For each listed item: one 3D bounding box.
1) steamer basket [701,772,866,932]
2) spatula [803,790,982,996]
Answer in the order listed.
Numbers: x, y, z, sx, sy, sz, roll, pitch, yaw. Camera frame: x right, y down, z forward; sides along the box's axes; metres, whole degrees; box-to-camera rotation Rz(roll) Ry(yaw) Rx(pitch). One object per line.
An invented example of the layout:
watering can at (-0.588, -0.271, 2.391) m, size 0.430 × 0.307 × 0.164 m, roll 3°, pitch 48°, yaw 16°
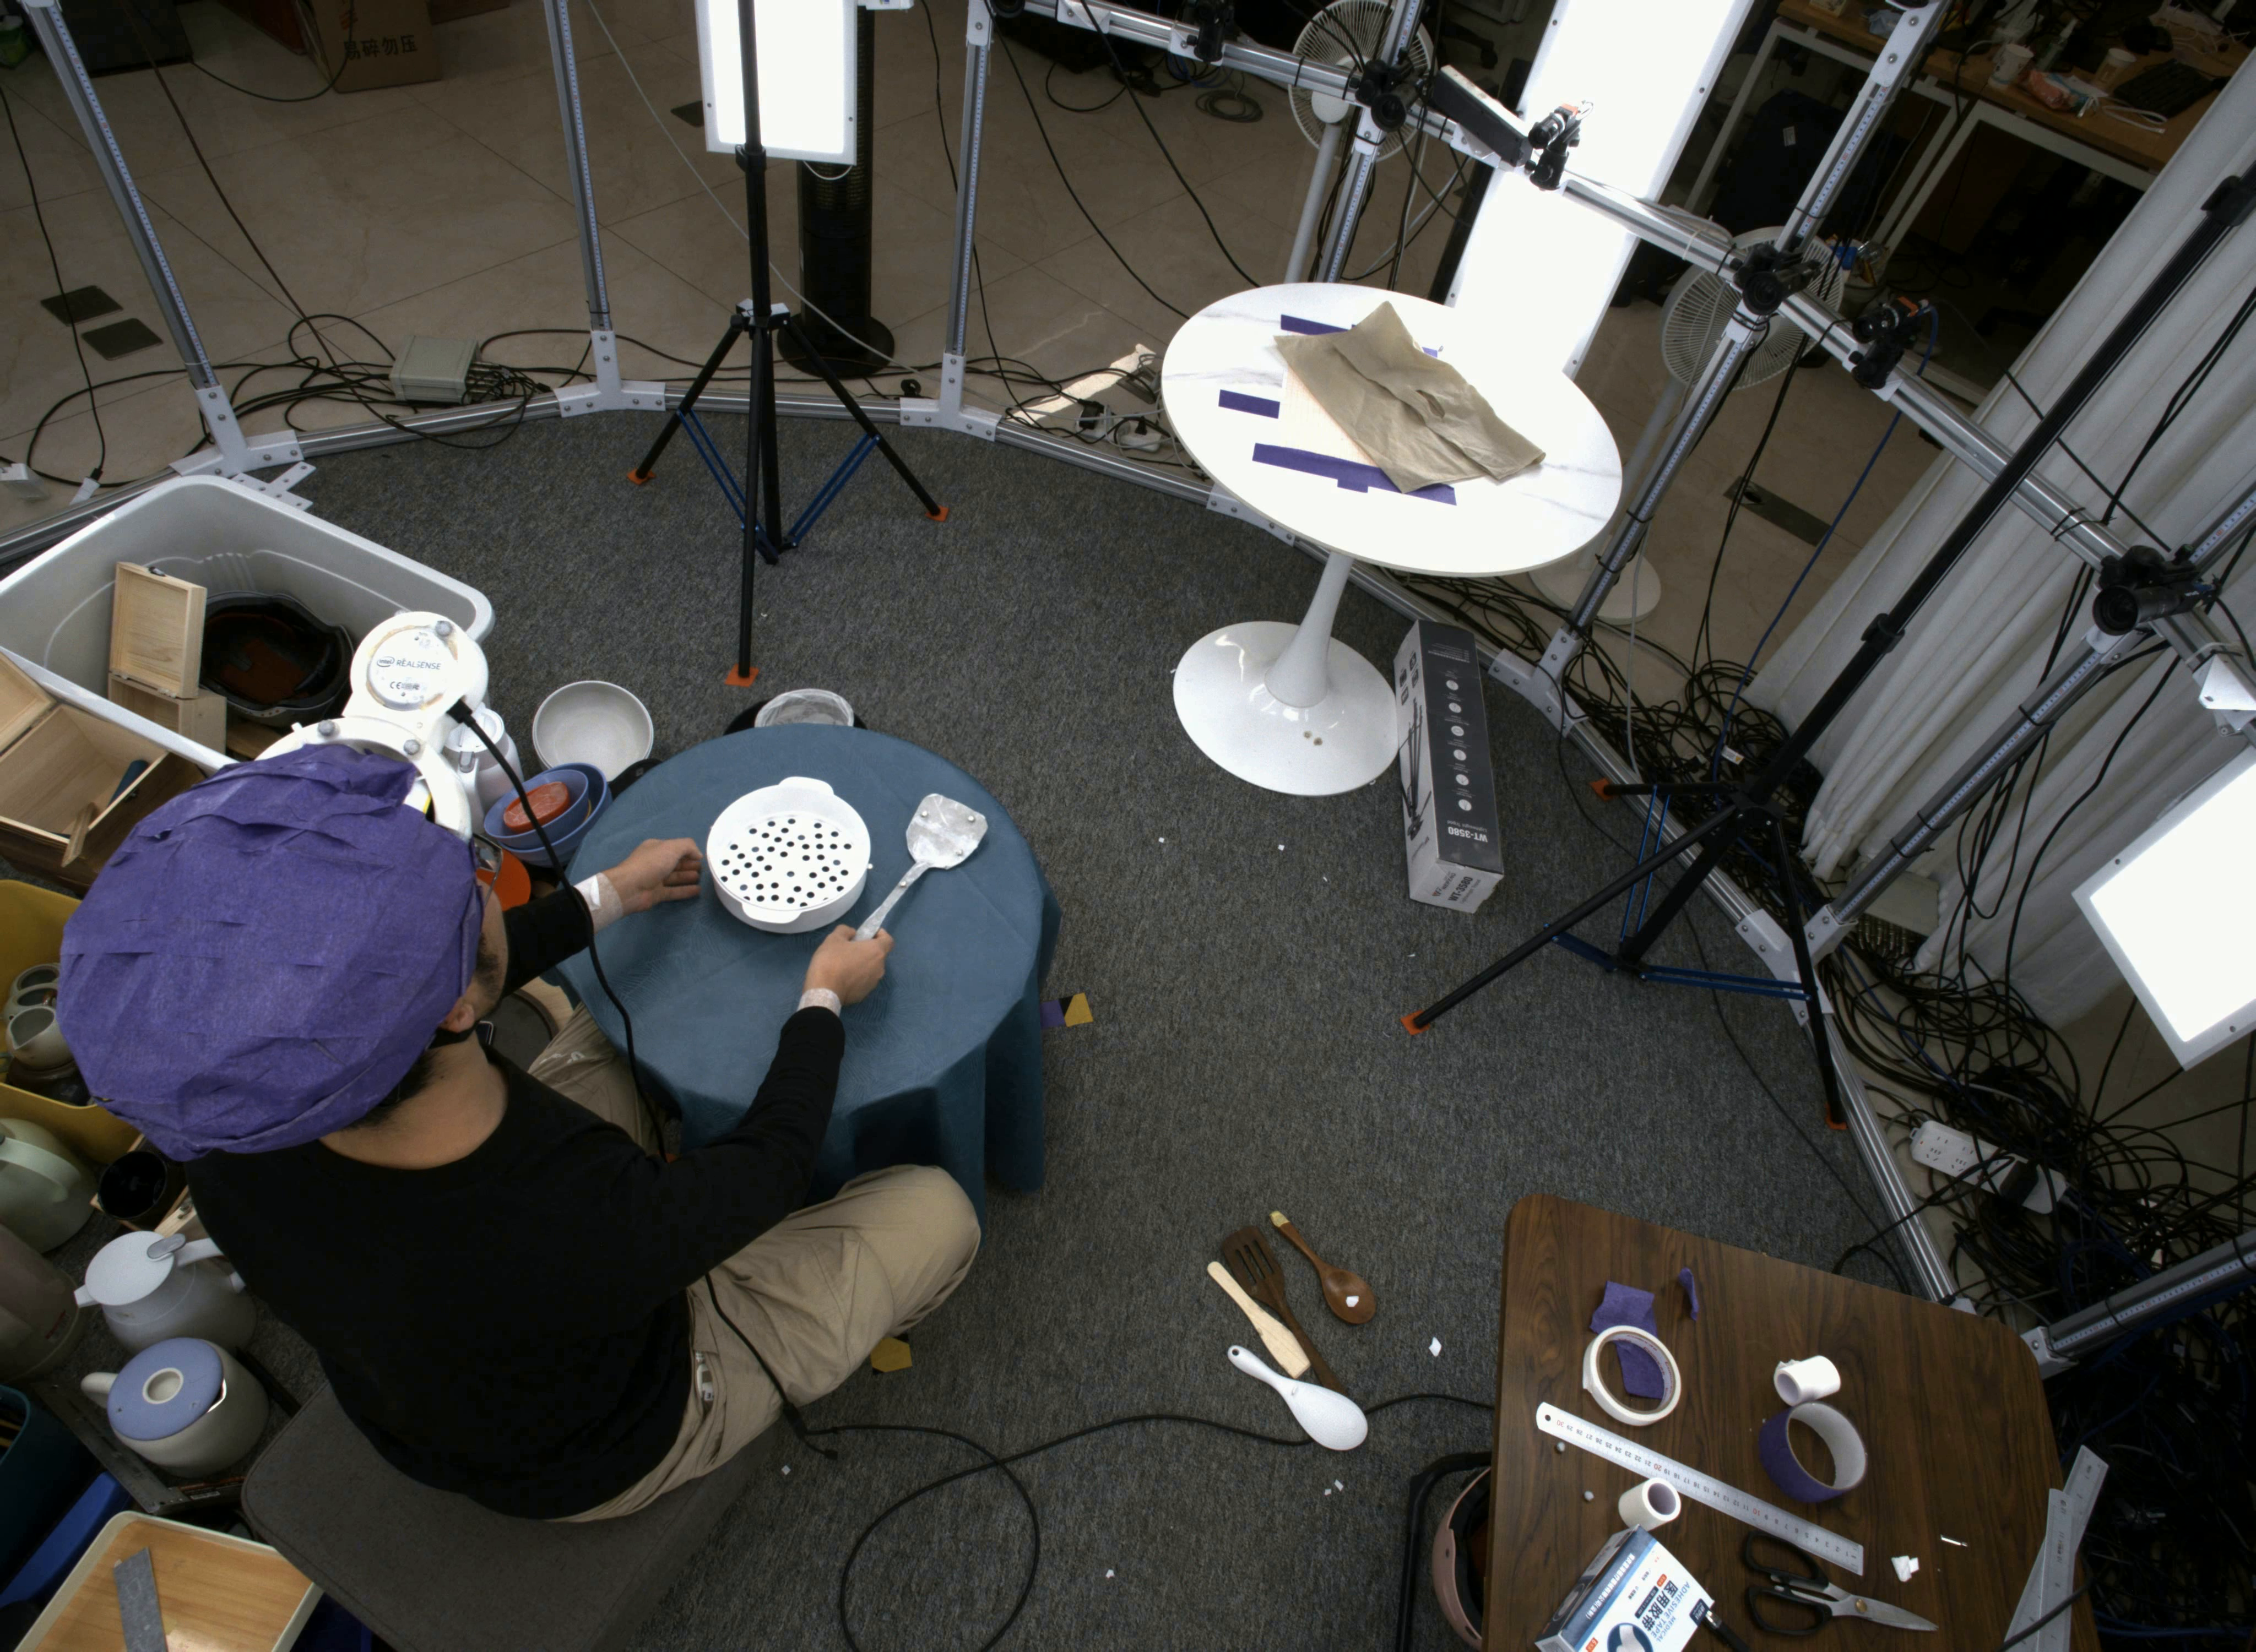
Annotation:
steamer basket at (-0.434, 0.038, 1.642) m, size 0.201 × 0.070 × 0.227 m, roll 10°, pitch 53°, yaw -6°
spatula at (-0.303, 0.083, 1.644) m, size 0.098 × 0.045 × 0.362 m, roll 29°, pitch 43°, yaw 3°
